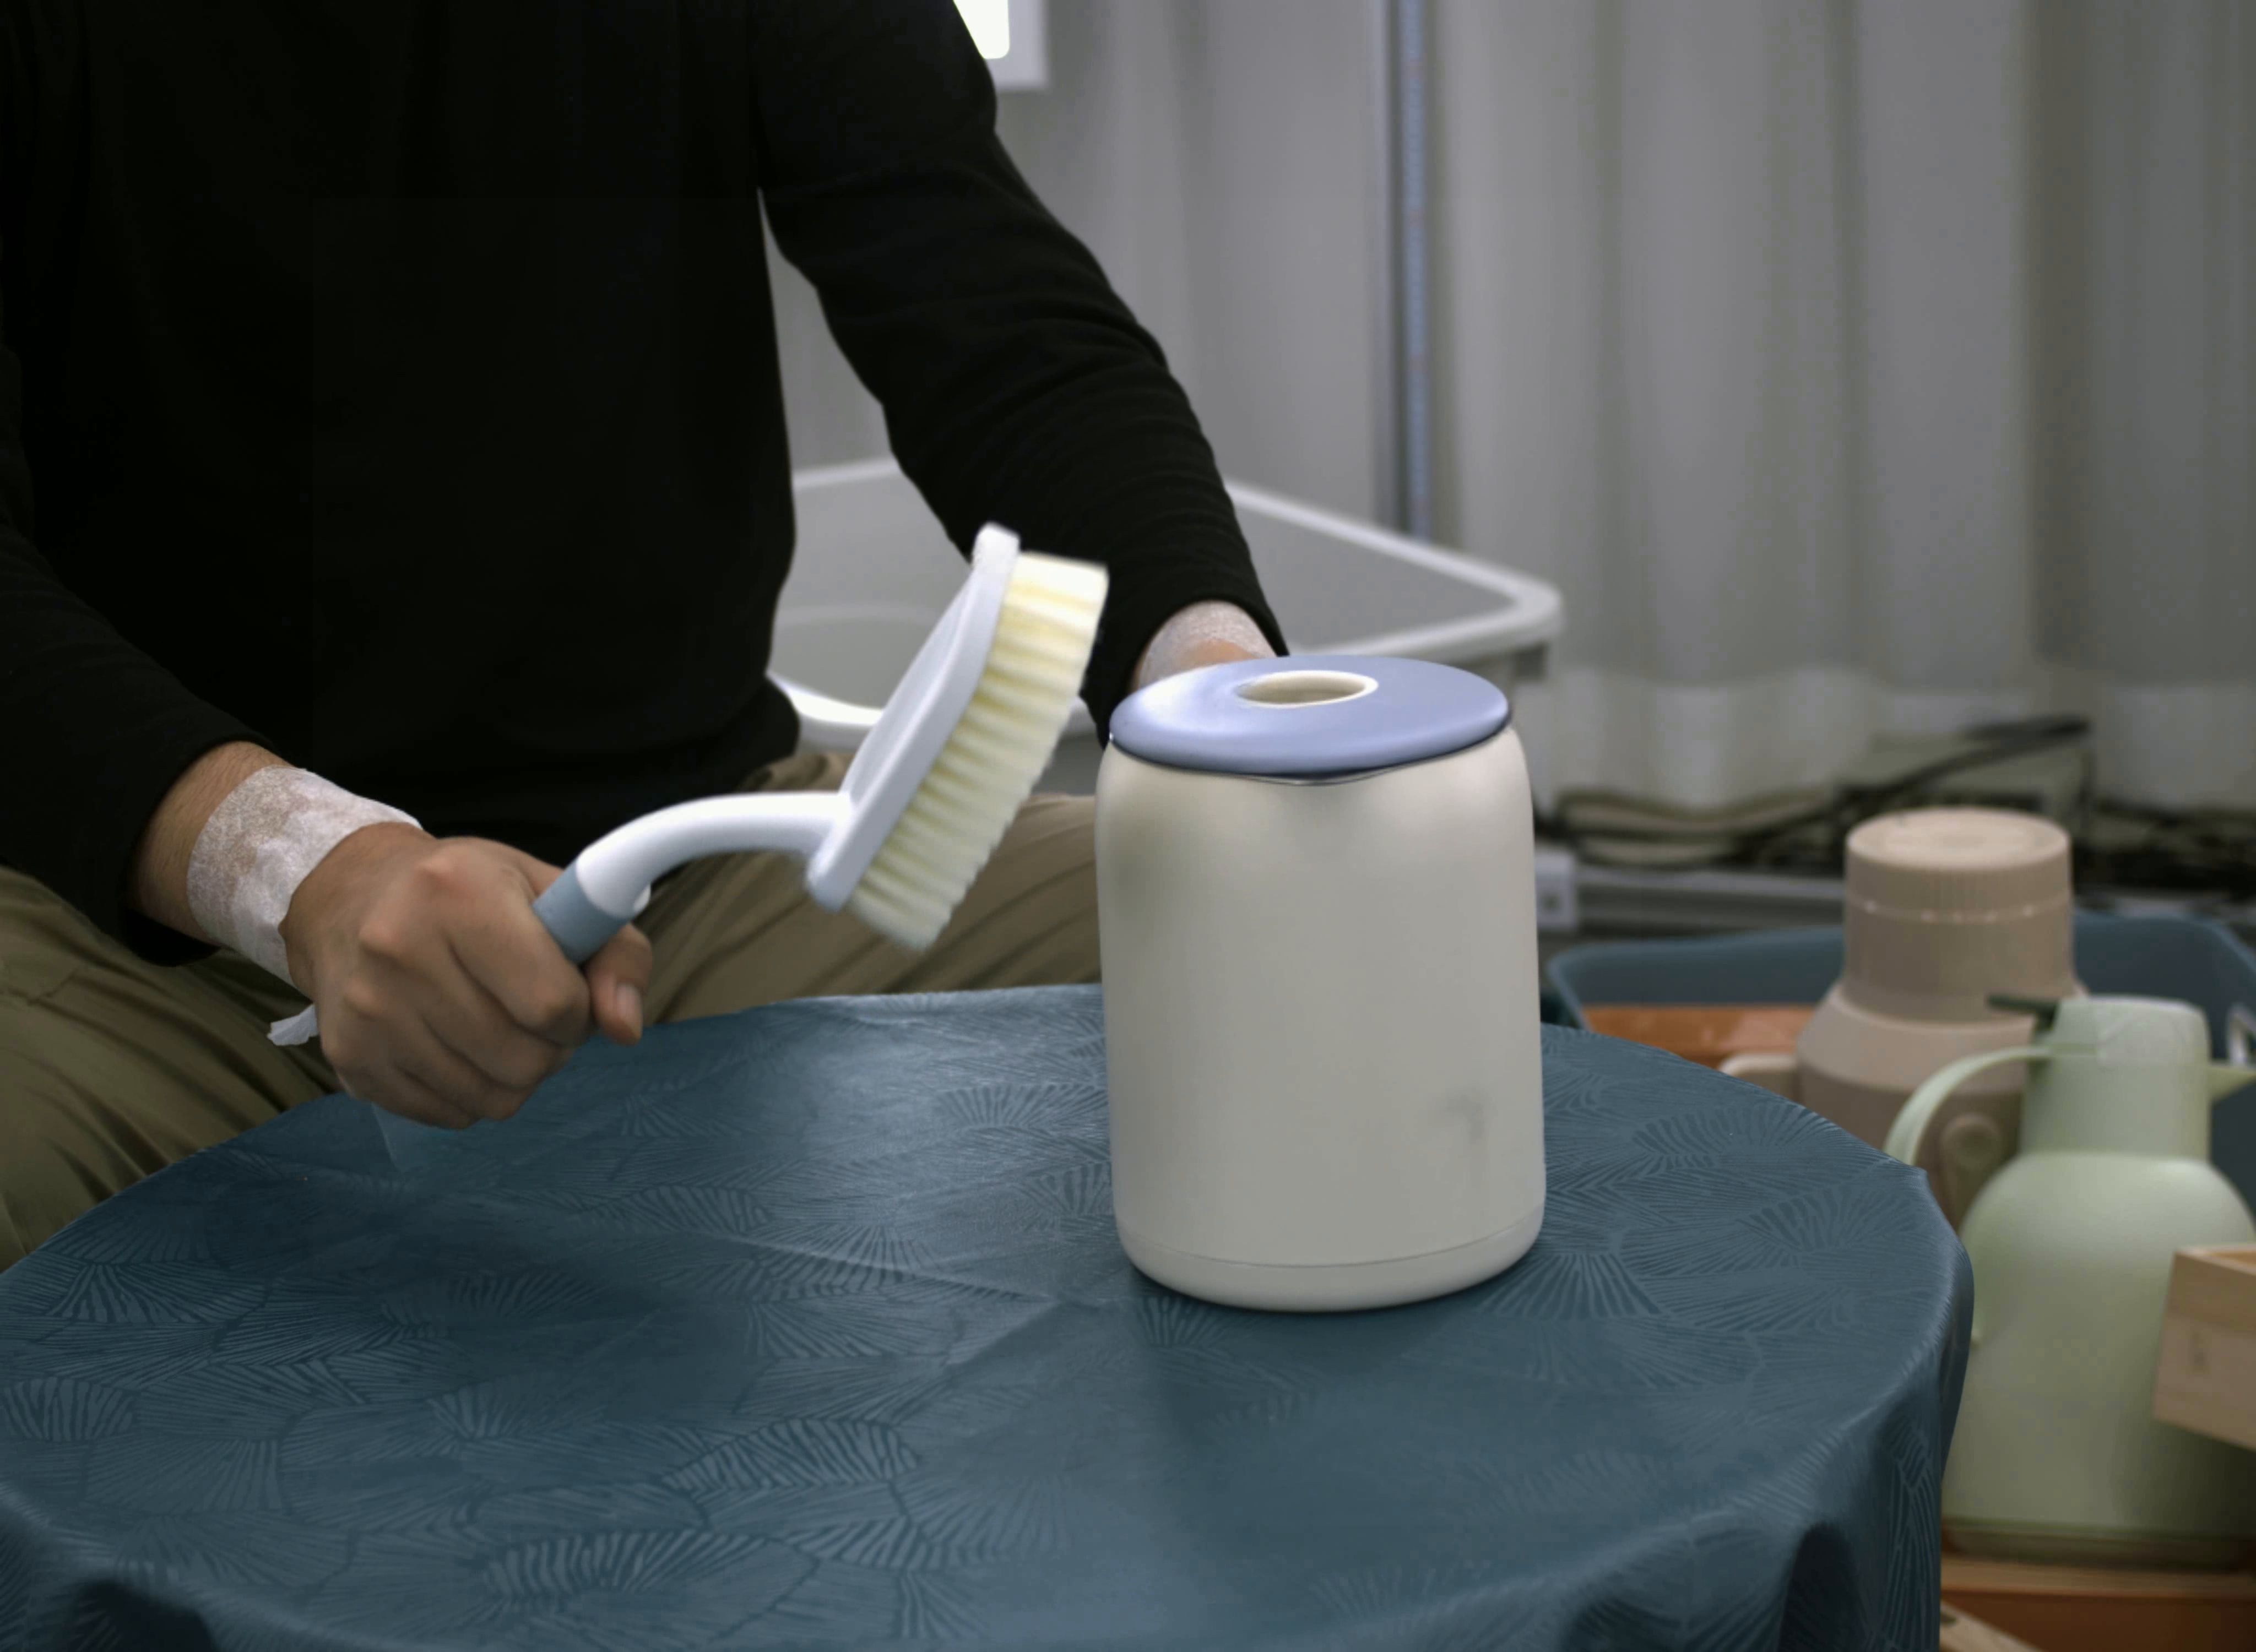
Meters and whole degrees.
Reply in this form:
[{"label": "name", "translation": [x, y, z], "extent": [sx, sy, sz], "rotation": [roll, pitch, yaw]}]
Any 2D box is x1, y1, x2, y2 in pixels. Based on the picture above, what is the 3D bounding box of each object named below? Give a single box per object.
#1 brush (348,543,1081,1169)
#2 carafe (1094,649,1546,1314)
[{"label": "brush", "translation": [-0.109, 0.028, 1.599], "extent": [0.083, 0.085, 0.323], "rotation": [-12, -23, -51]}, {"label": "carafe", "translation": [0.056, 0.039, 1.656], "extent": [0.132, 0.182, 0.192], "rotation": [-3, 13, -3]}]
